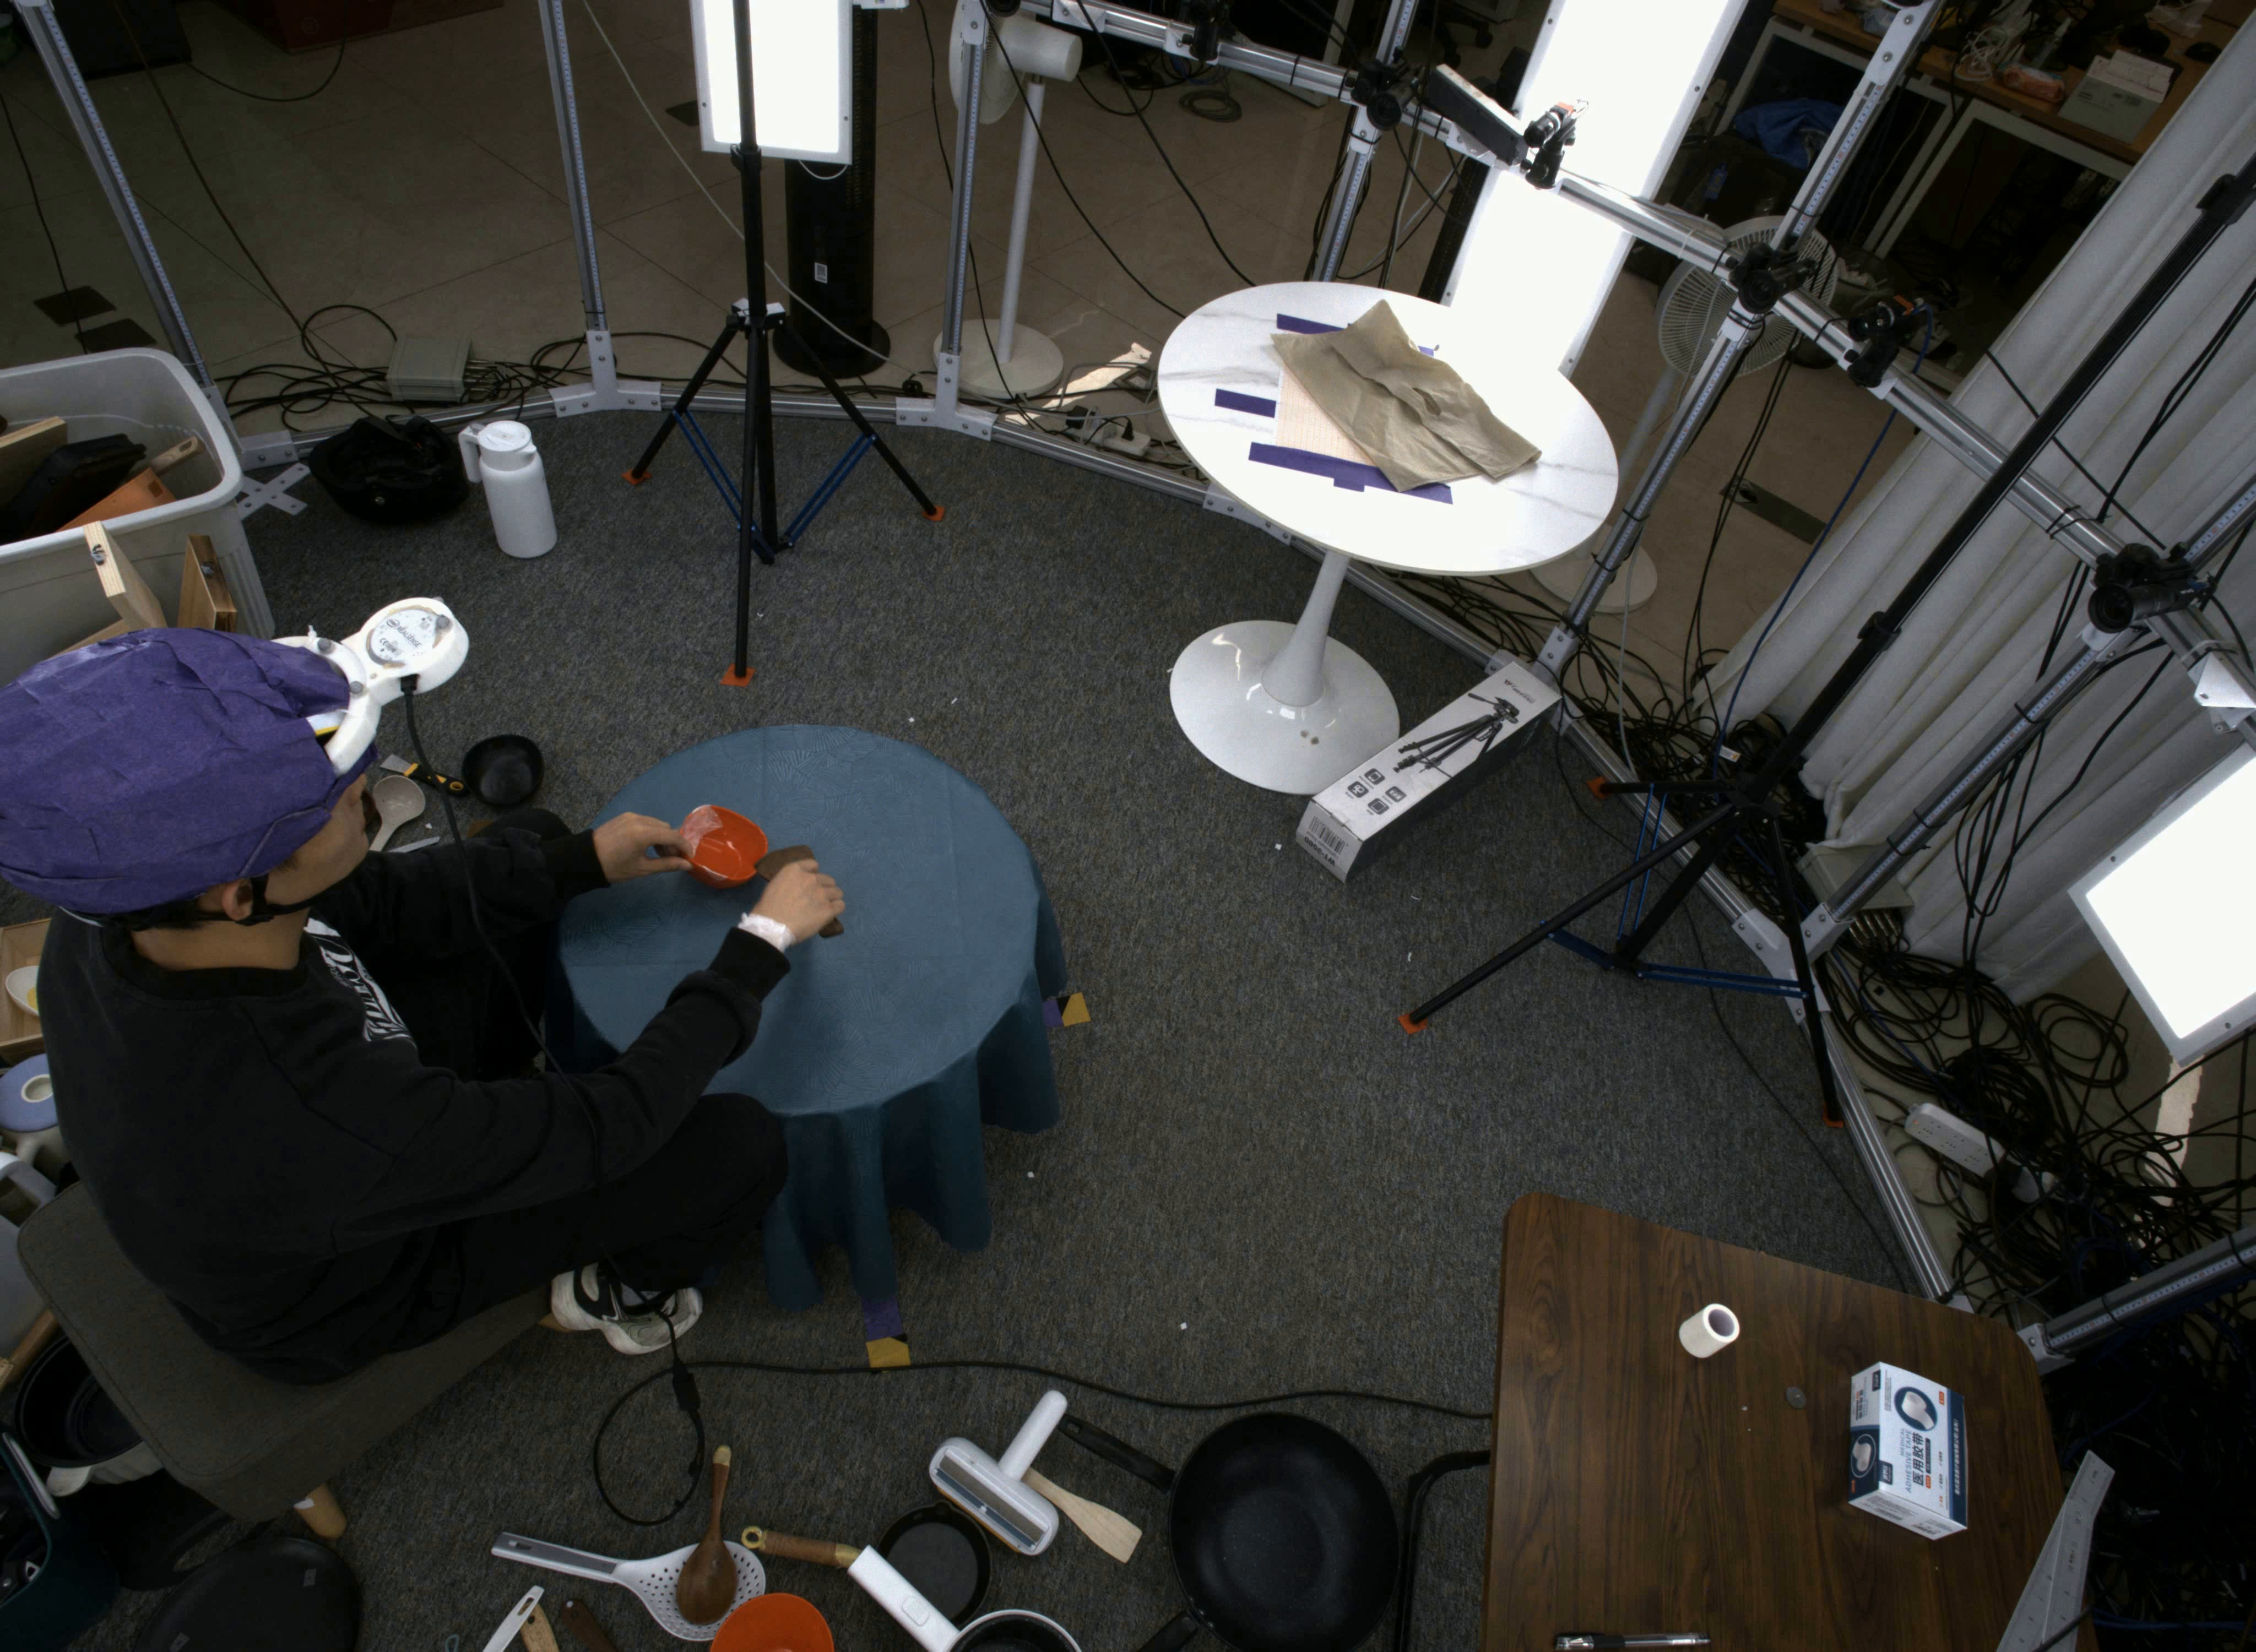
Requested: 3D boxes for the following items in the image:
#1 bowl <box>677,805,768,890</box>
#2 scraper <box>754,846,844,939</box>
[{"bbox_3d":[-0.519,0.034,1.633,0.121,0.051,0.116,25,41,-22],"label":"bowl"},{"bbox_3d":[-0.381,0.078,1.537,0.076,0.011,0.203,-16,34,-26],"label":"scraper"}]
